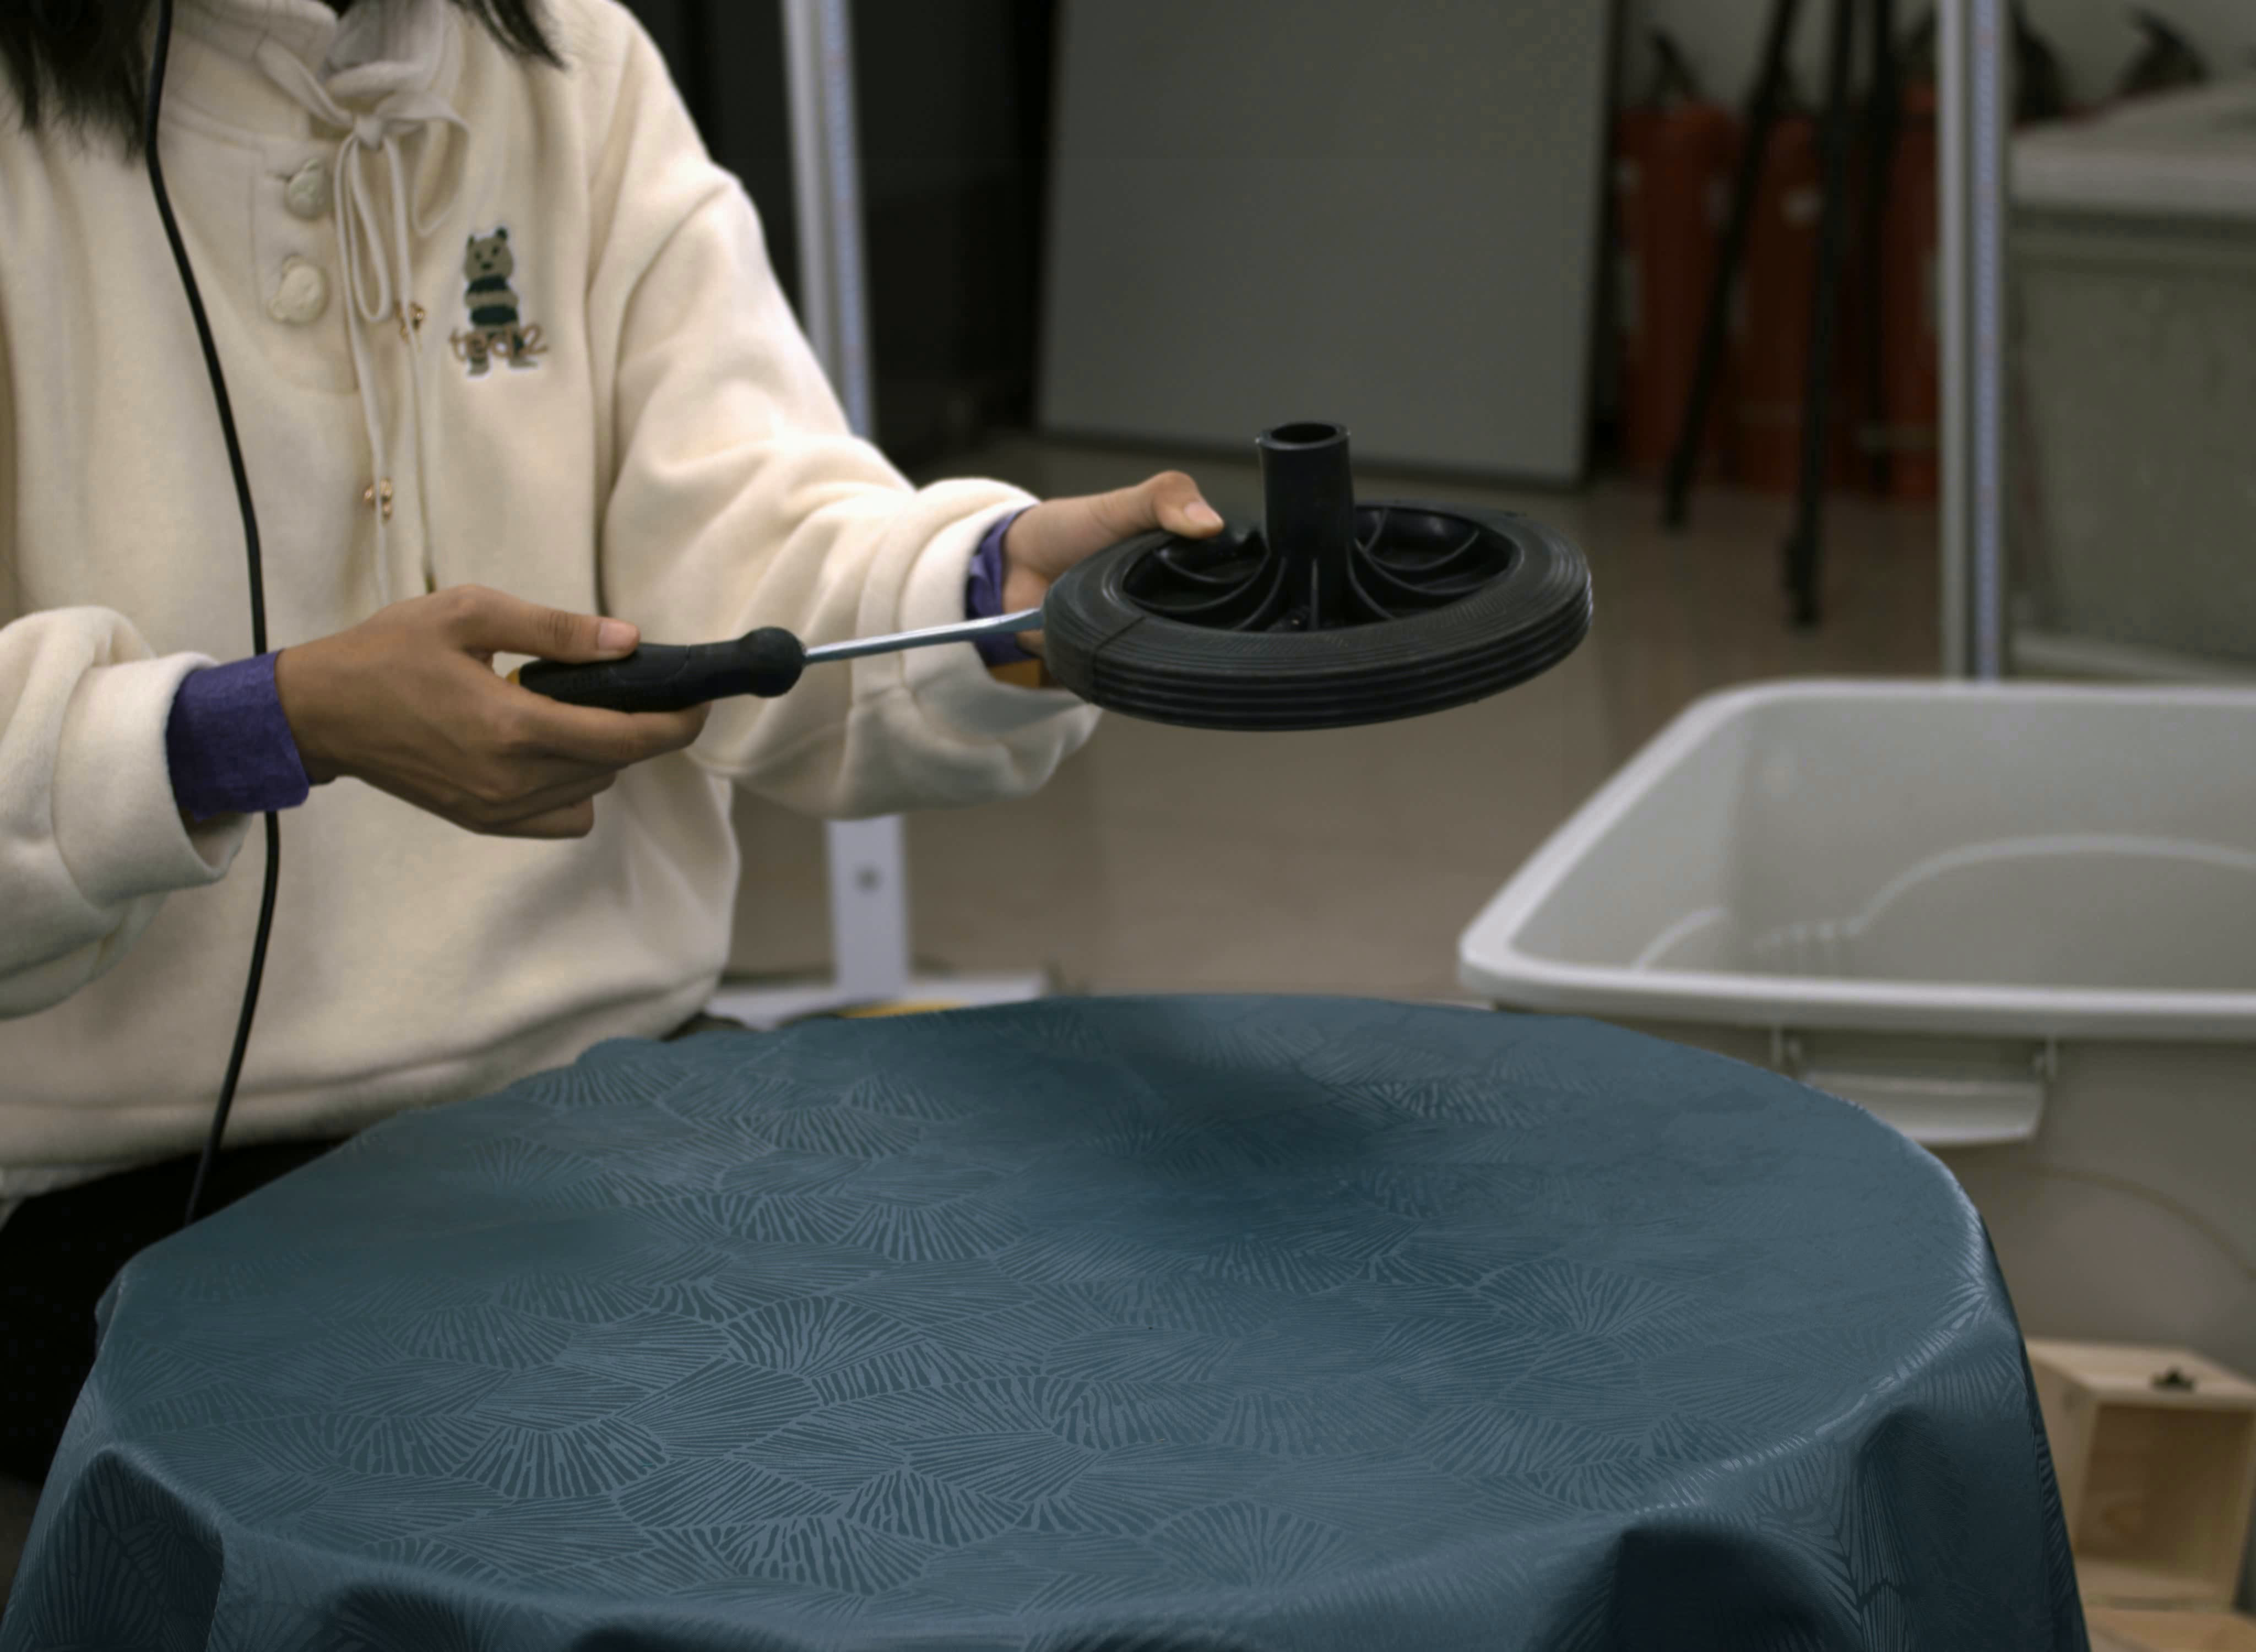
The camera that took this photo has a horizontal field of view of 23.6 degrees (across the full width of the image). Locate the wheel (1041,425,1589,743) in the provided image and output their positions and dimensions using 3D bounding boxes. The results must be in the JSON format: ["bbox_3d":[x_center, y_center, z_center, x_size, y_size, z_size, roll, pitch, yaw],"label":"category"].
[{"bbox_3d":[0.061,-0.092,1.818,0.185,0.080,0.190,-5,22,3],"label":"wheel"}]

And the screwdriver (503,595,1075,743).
[{"bbox_3d":[-0.113,-0.053,1.811,0.196,0.032,0.031,-8,13,6],"label":"screwdriver"}]
